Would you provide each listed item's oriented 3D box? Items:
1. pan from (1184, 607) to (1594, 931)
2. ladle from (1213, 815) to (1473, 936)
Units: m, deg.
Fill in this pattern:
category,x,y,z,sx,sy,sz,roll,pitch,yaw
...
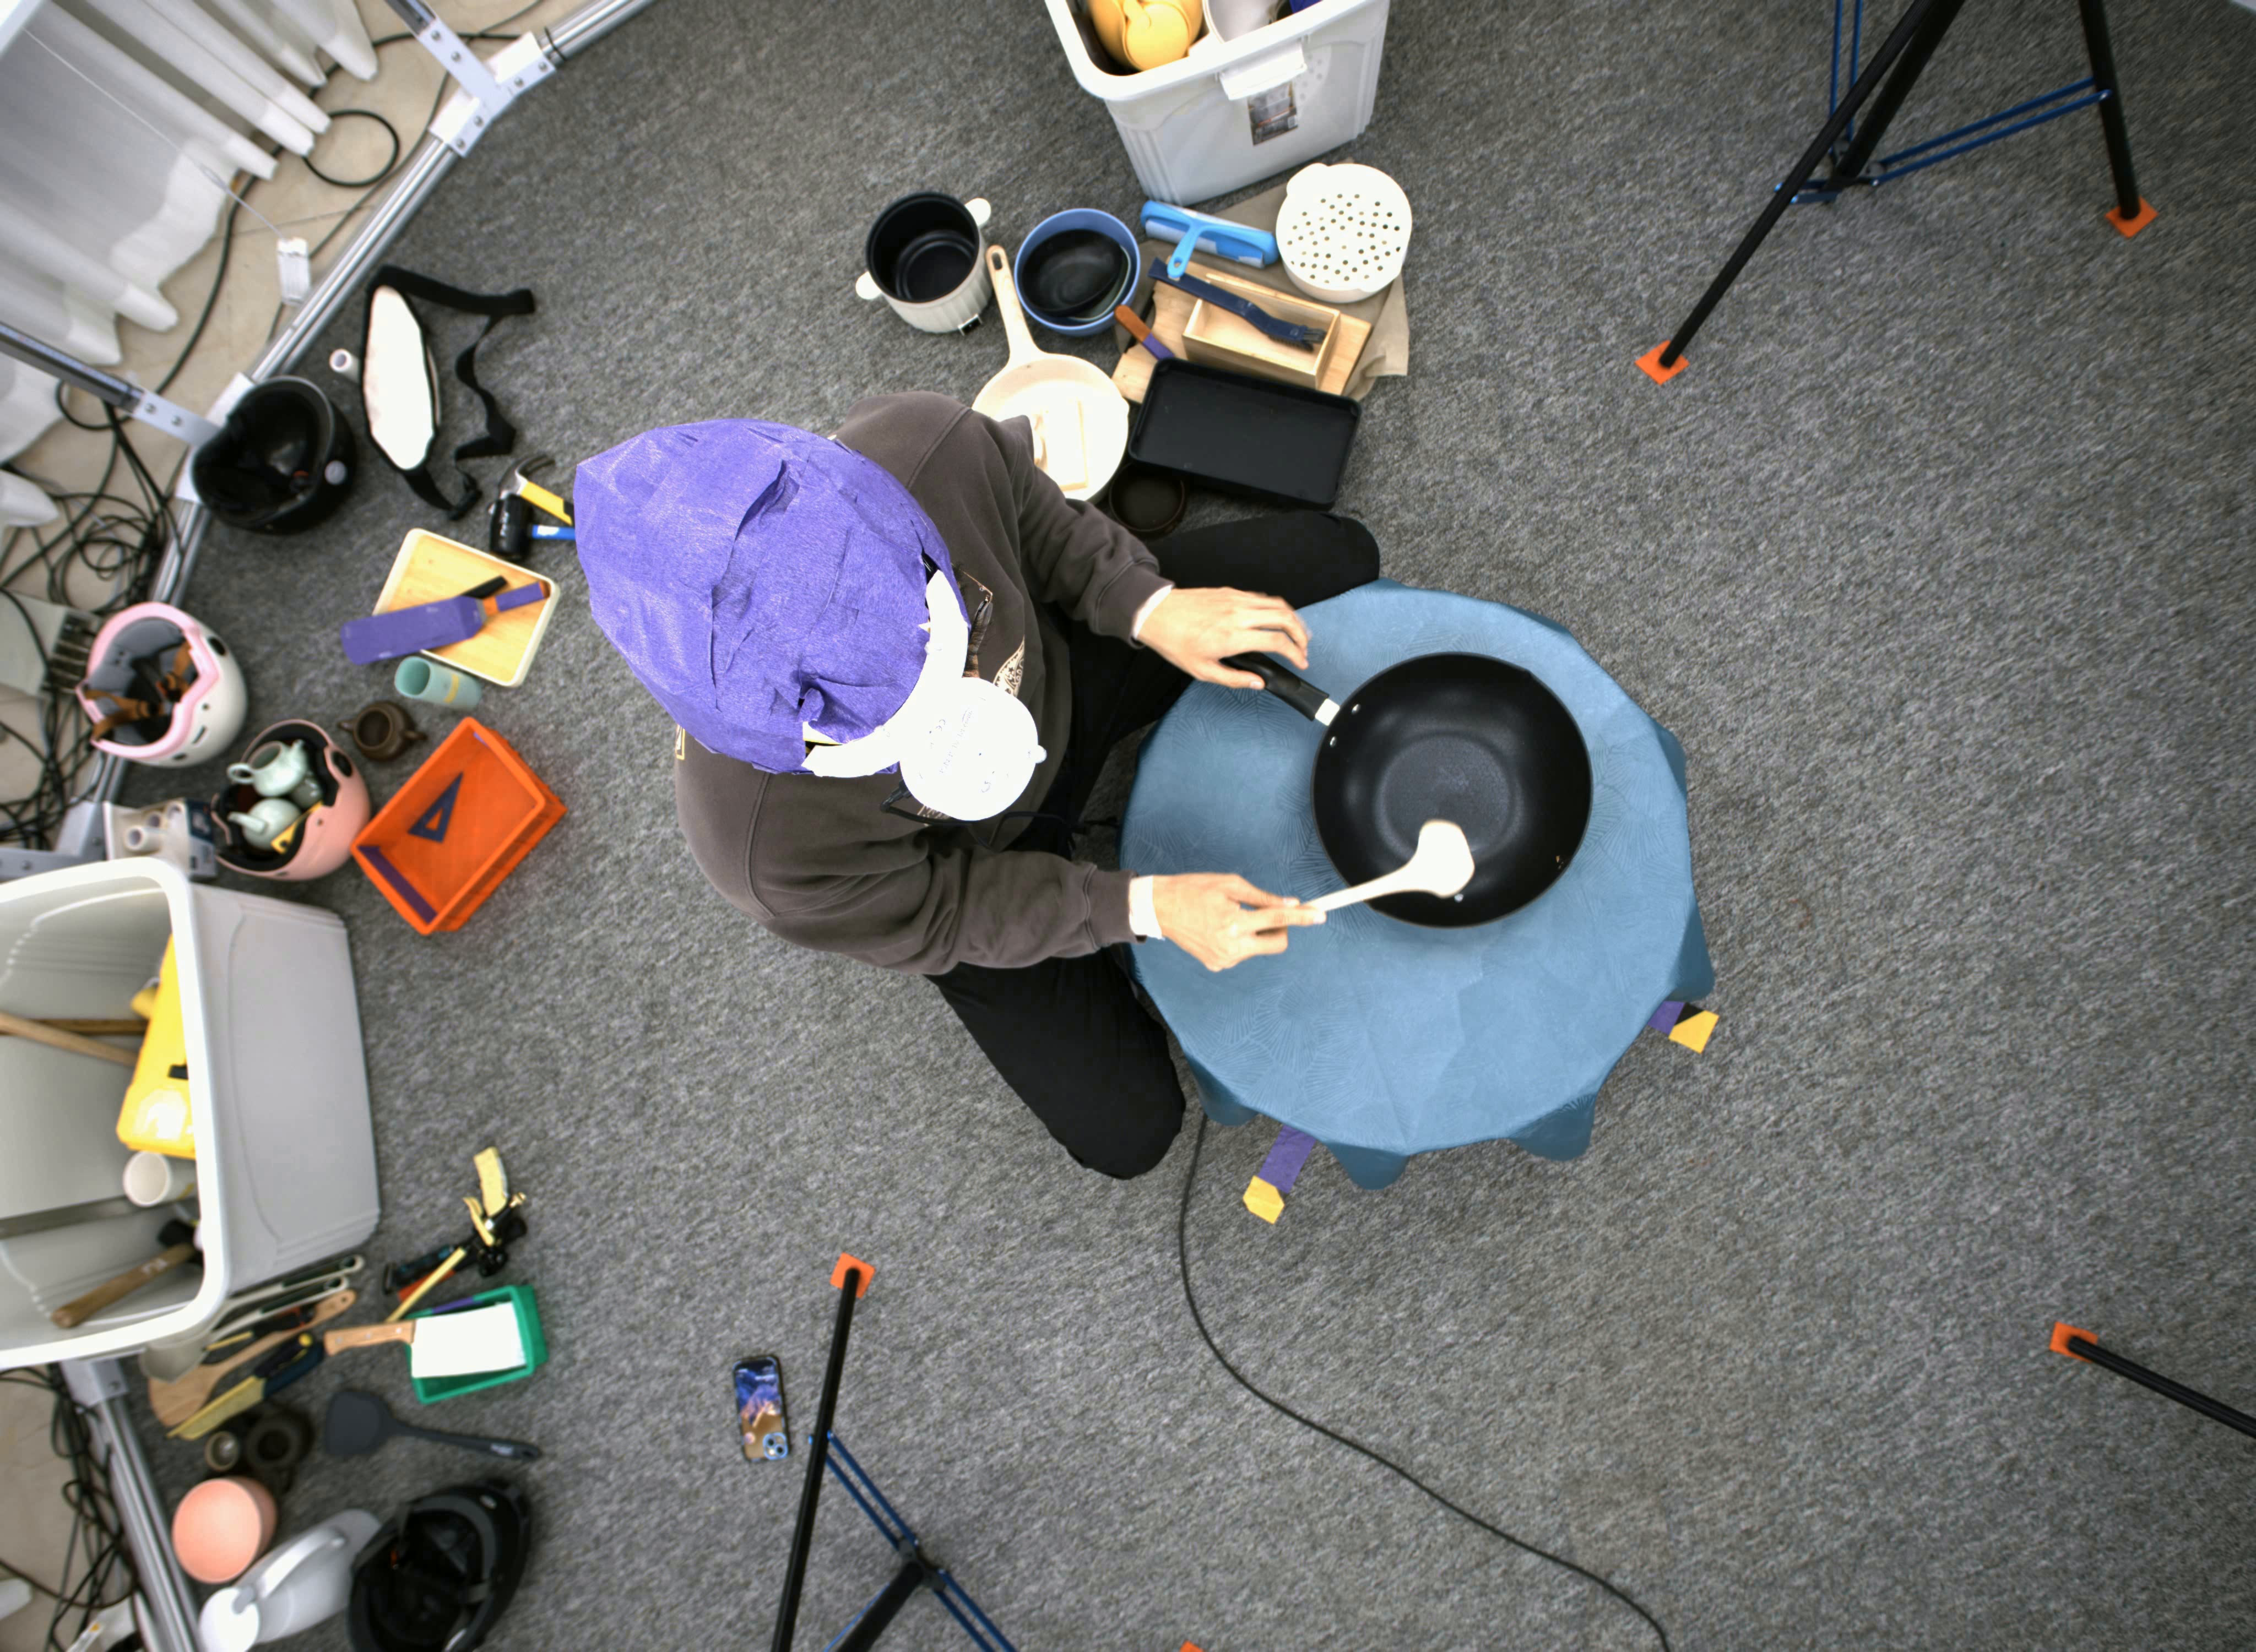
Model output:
category,x,y,z,sx,sy,sz,roll,pitch,yaw
pan,0.253,-0.084,1.427,0.462,0.087,0.289,34,93,12
ladle,0.206,0.054,1.339,0.257,0.071,0.072,-18,101,18
